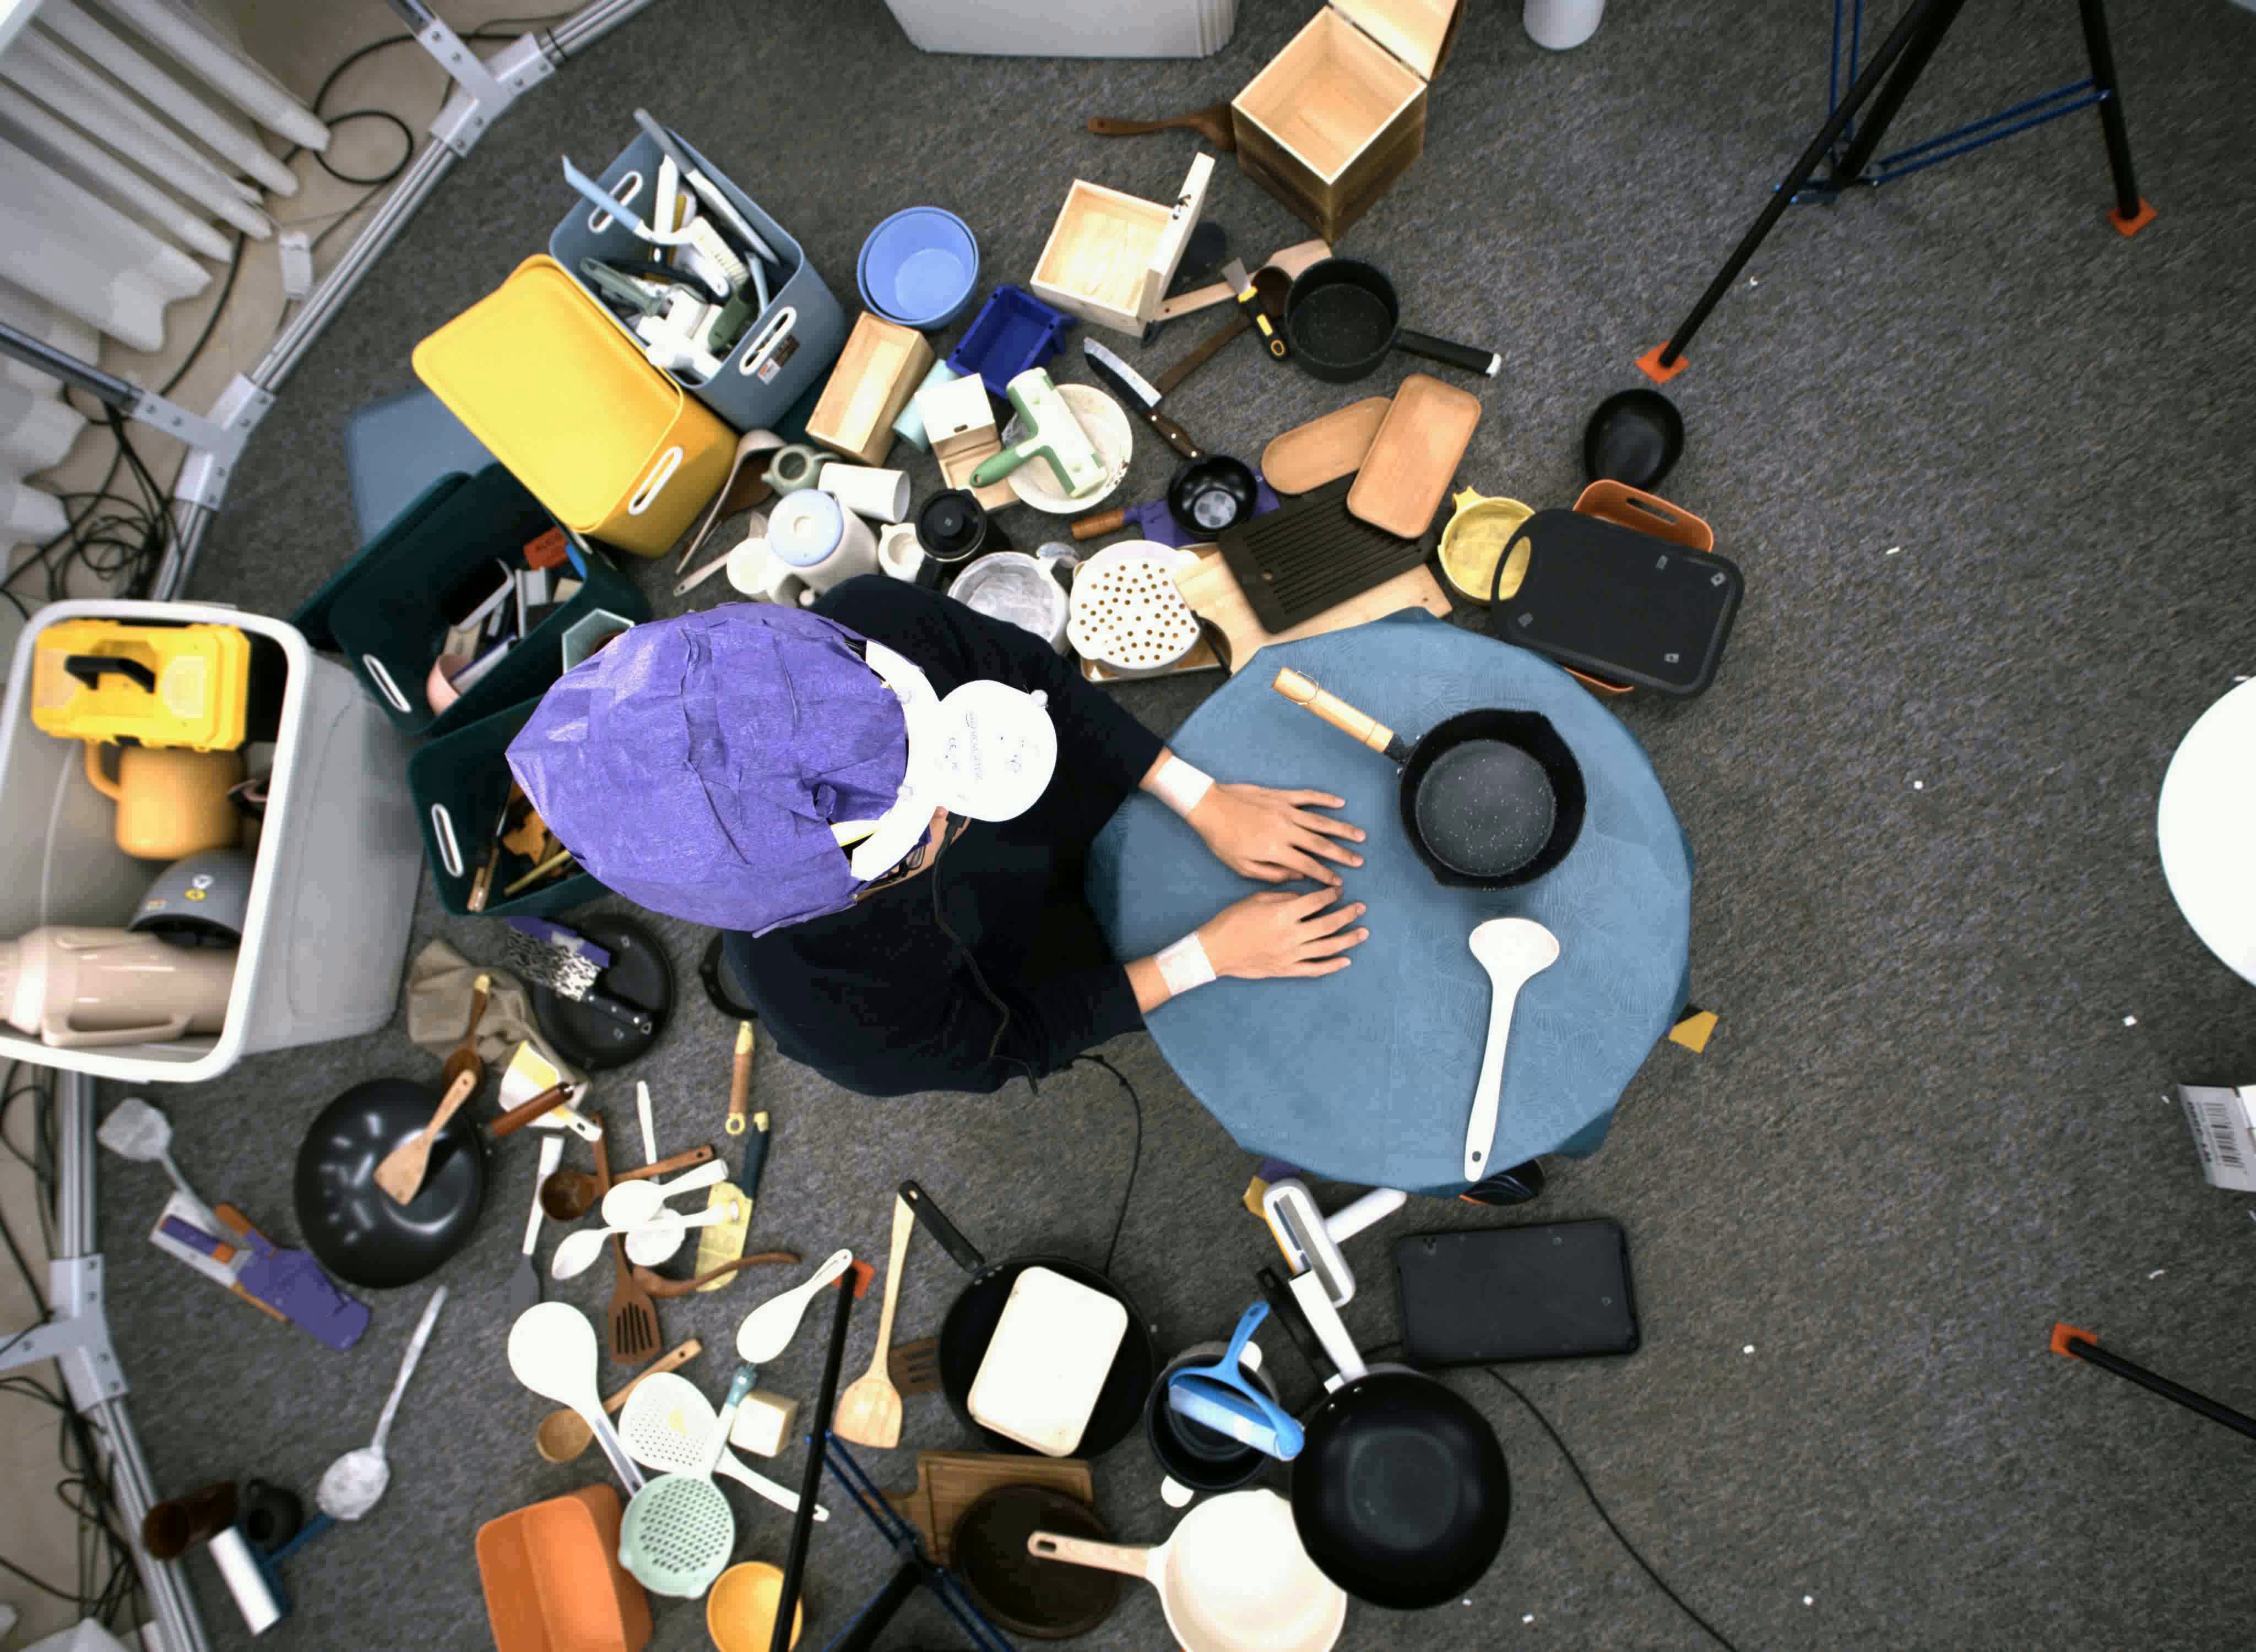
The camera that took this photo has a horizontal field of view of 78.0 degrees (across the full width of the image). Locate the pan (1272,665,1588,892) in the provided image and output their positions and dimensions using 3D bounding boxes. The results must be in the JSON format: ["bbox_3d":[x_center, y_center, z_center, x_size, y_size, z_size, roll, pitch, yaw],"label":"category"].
[{"bbox_3d":[0.299,-0.064,1.407,0.342,0.108,0.208,29,93,9],"label":"pan"}]

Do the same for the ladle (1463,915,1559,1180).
[{"bbox_3d":[0.374,0.224,1.397,0.089,0.069,0.274,10,88,6],"label":"ladle"}]
